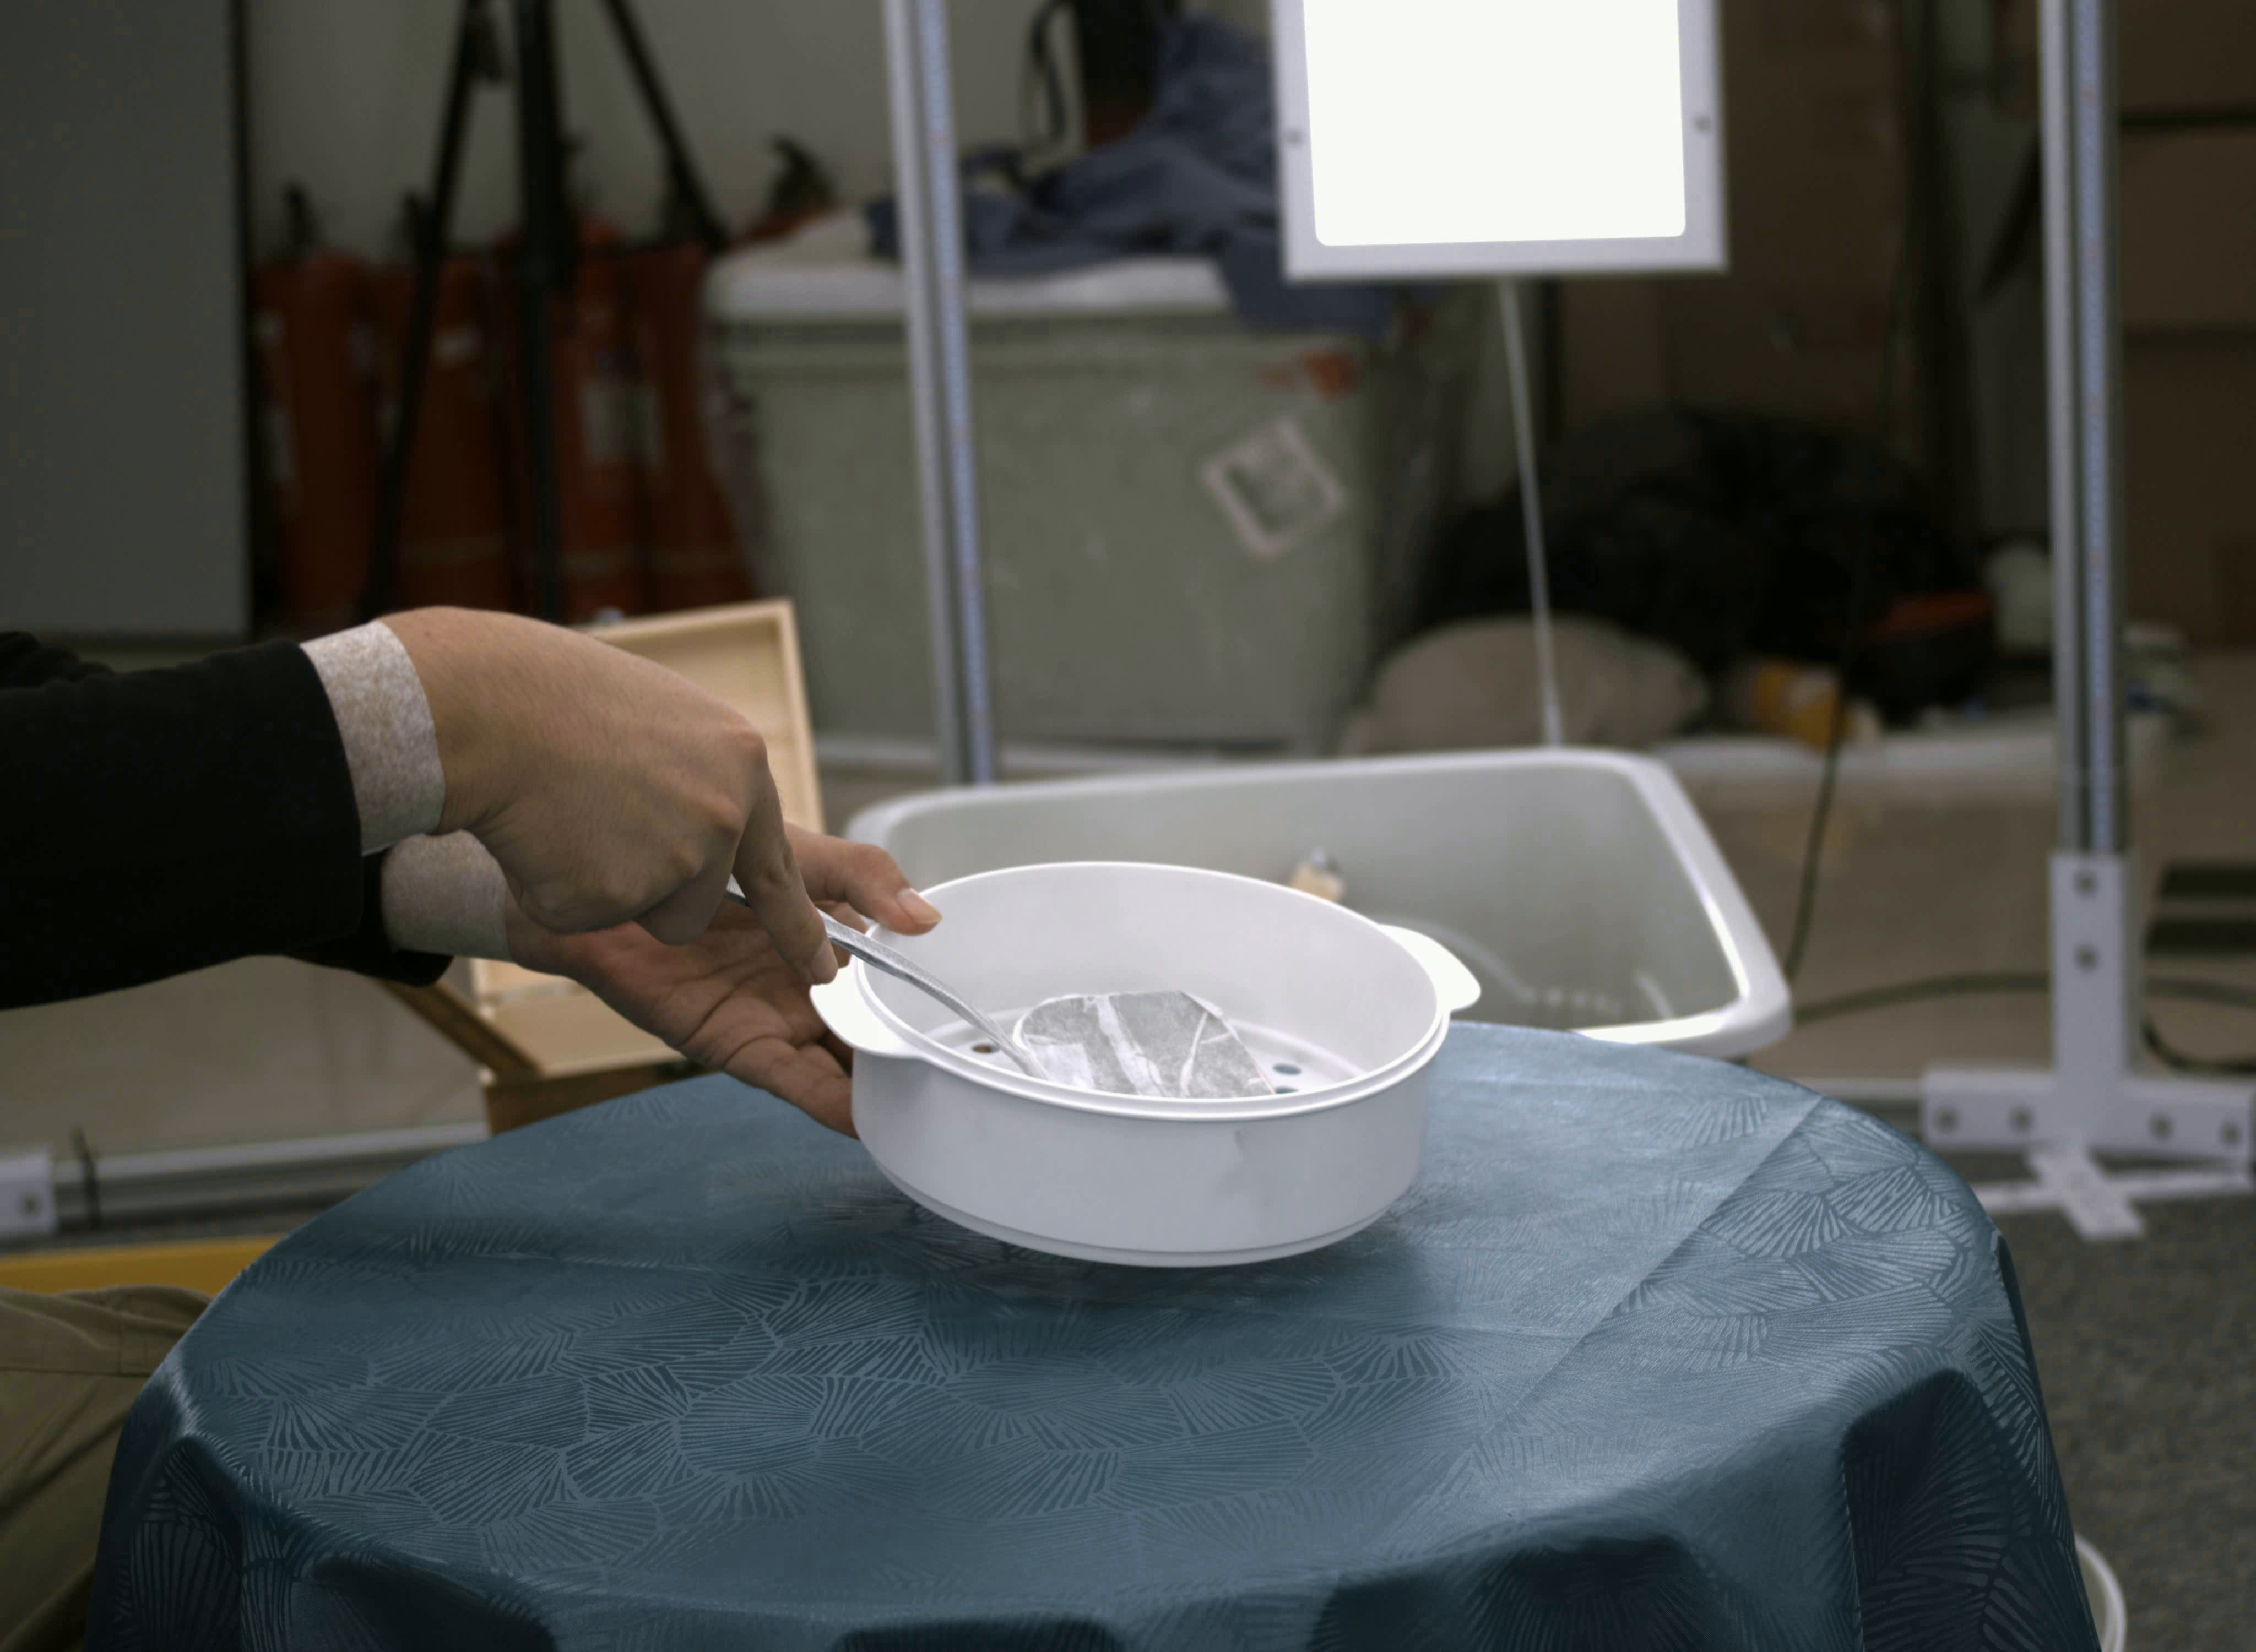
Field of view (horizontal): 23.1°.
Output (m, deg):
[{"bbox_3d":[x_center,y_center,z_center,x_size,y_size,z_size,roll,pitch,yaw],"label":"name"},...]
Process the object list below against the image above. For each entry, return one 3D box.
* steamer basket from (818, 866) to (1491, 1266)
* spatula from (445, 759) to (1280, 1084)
[{"bbox_3d":[0.009,0.080,1.843,0.226,0.069,0.204,-4,22,-19],"label":"steamer basket"},{"bbox_3d":[-0.073,0.038,1.754,0.358,0.045,0.099,30,22,-44],"label":"spatula"}]
